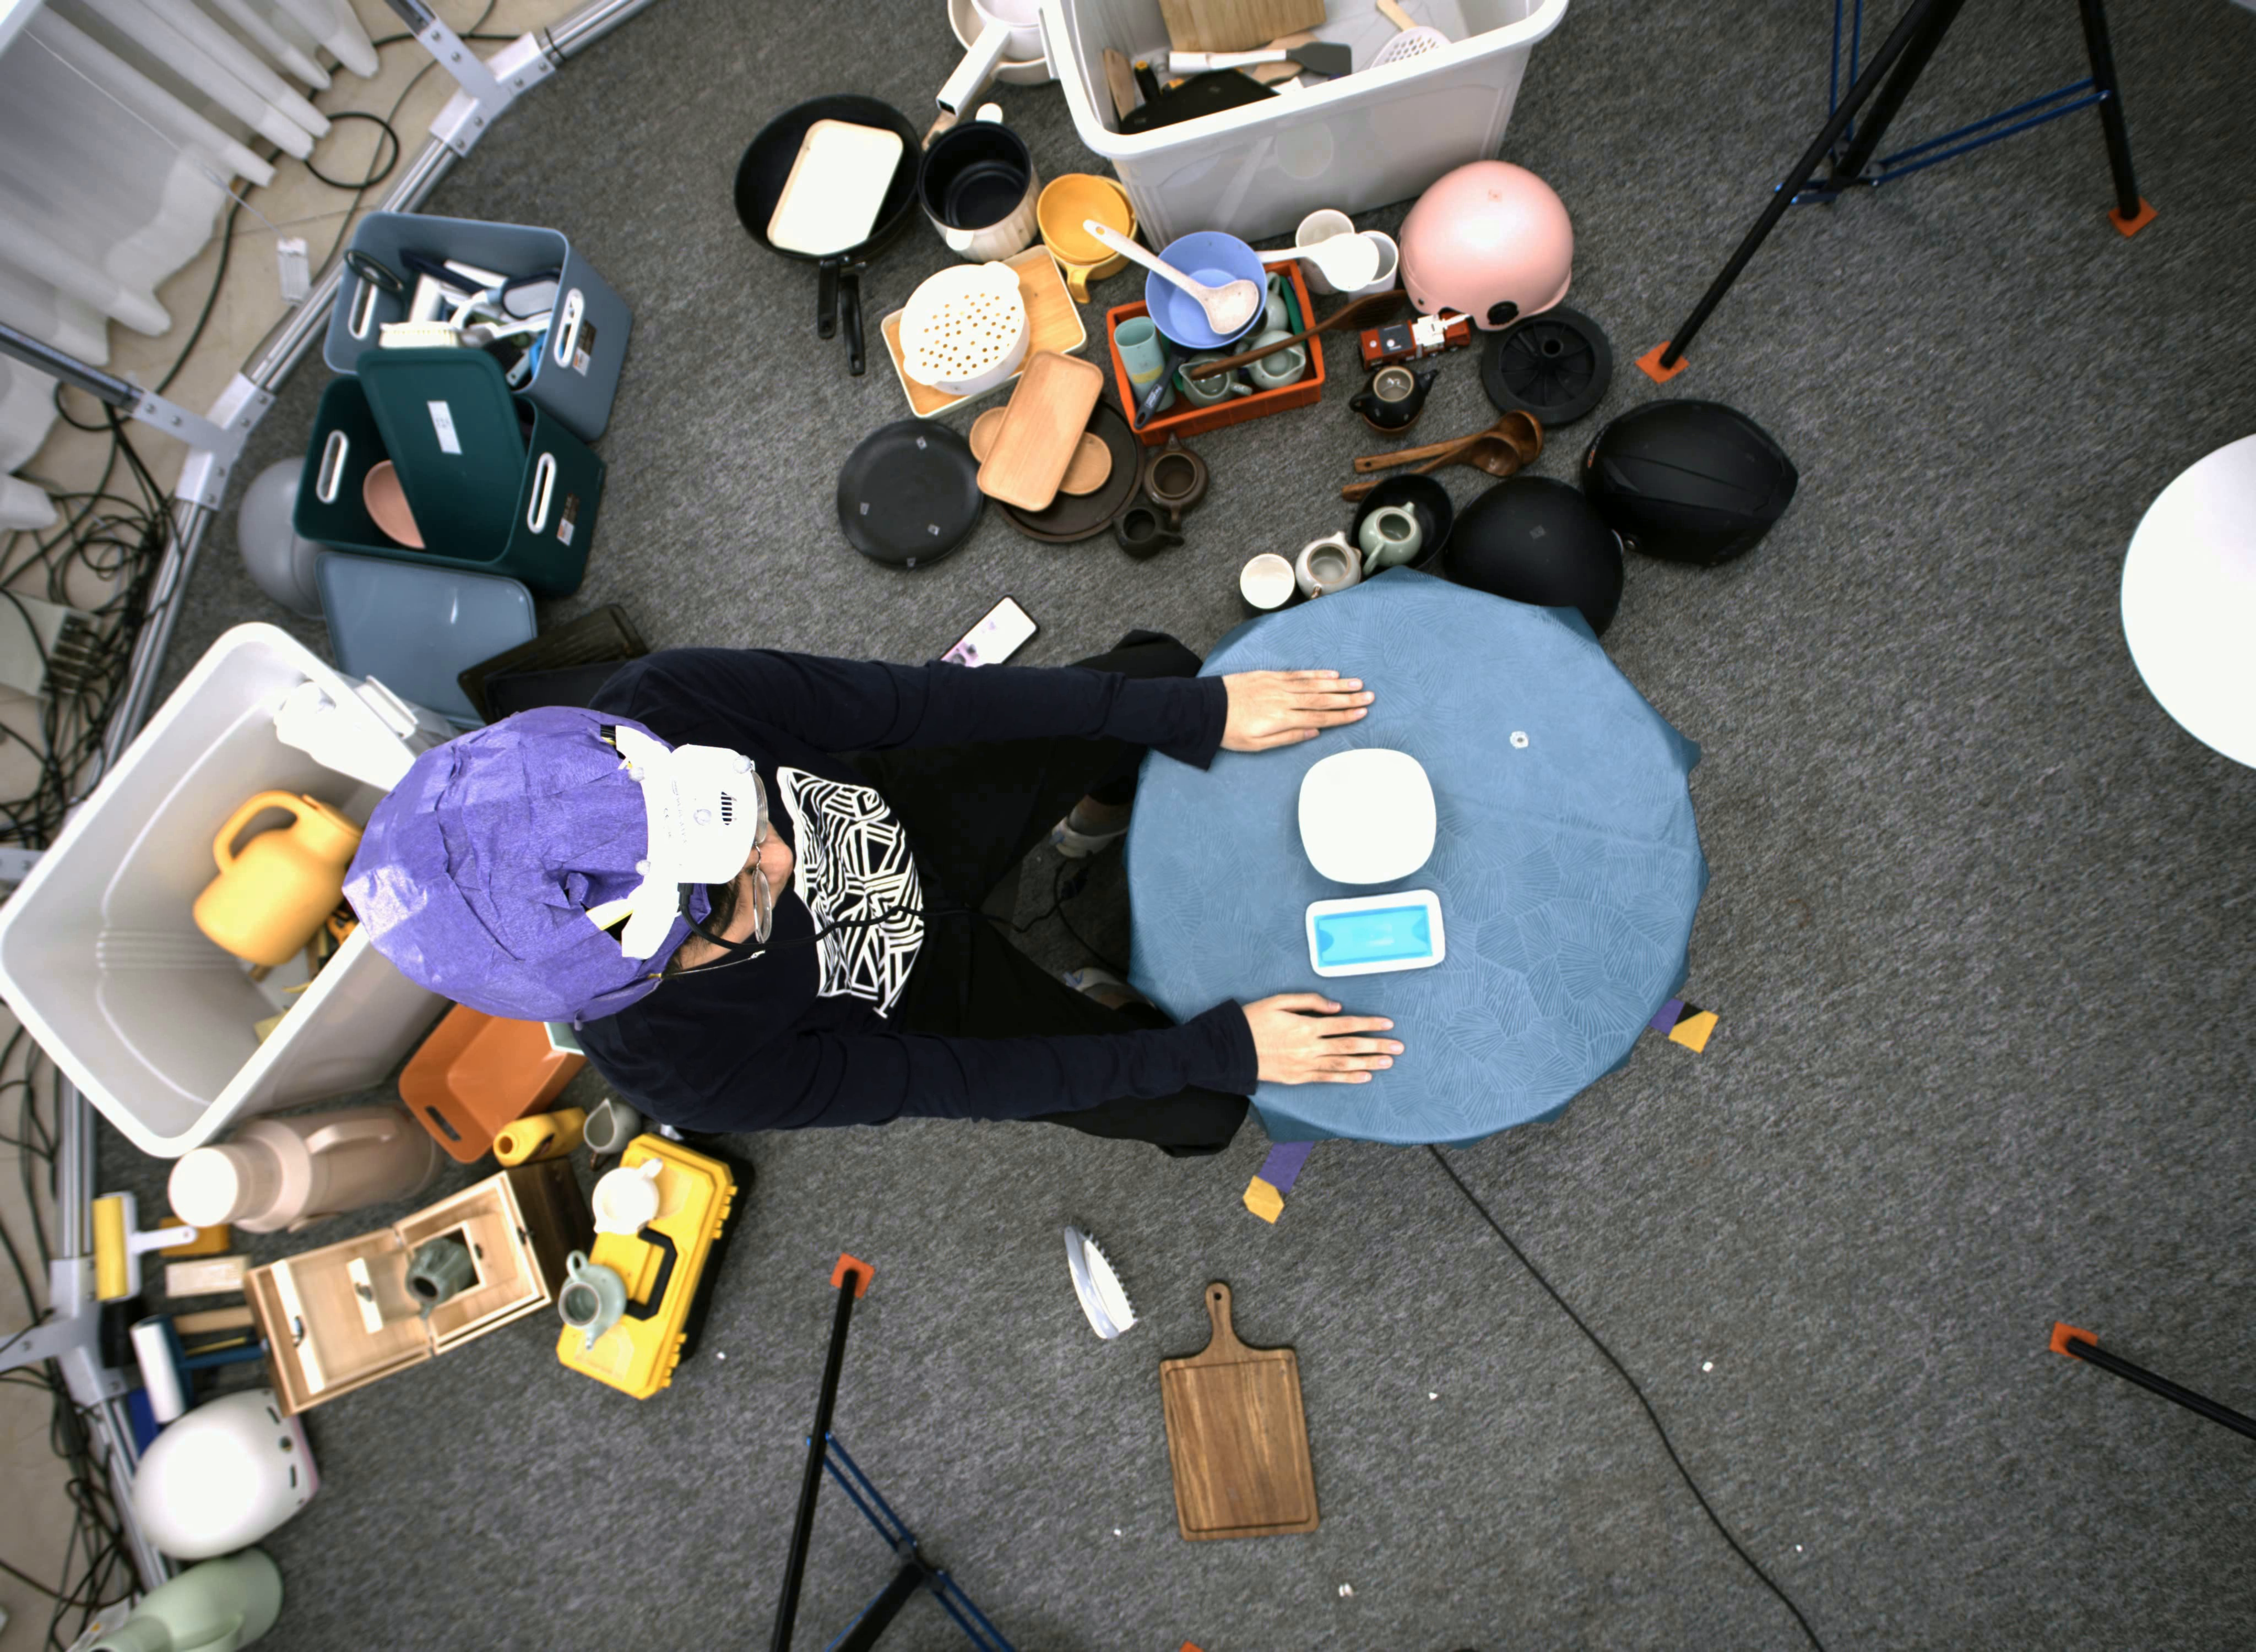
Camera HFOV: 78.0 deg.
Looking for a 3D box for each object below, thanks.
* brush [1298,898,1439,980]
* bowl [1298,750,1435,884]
[{"bbox_3d":[0.249,0.113,1.430,0.144,0.056,0.083,-5,82,8],"label":"brush"},{"bbox_3d":[0.248,-0.008,1.439,0.152,0.059,0.150,-1,84,11],"label":"bowl"}]
